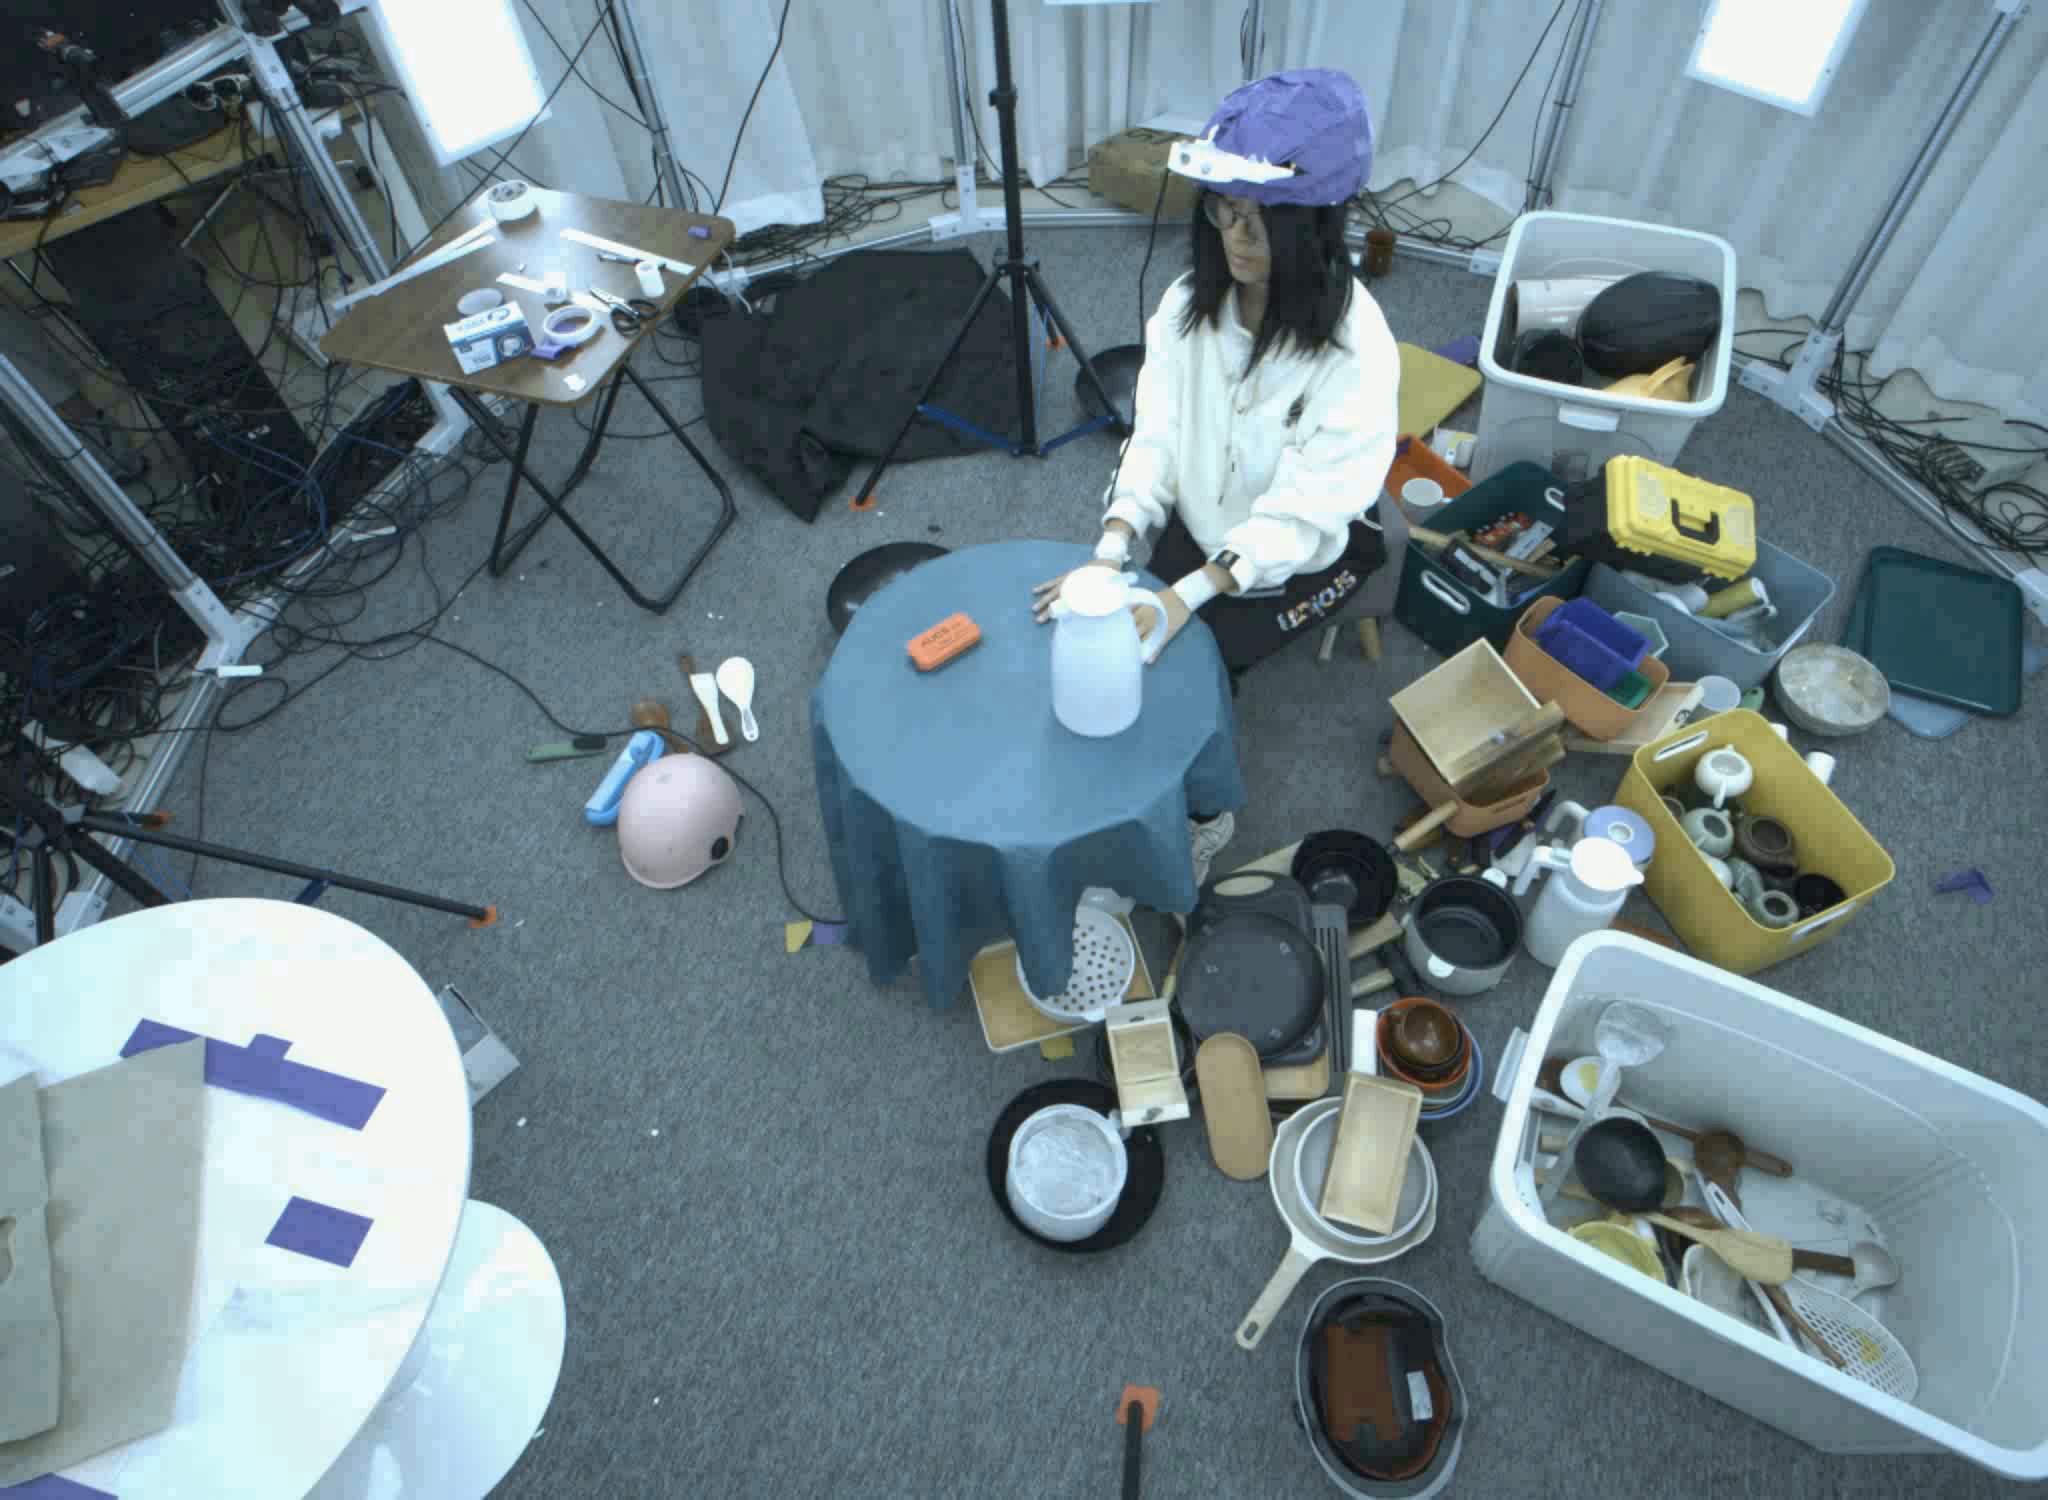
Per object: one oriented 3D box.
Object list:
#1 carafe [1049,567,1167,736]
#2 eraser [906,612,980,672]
[{"bbox_3d":[0.119,-0.150,1.737,0.169,0.251,0.130,-16,55,-8],"label":"carafe"},{"bbox_3d":[-0.125,-0.167,1.896,0.109,0.023,0.058,-33,63,-19],"label":"eraser"}]
